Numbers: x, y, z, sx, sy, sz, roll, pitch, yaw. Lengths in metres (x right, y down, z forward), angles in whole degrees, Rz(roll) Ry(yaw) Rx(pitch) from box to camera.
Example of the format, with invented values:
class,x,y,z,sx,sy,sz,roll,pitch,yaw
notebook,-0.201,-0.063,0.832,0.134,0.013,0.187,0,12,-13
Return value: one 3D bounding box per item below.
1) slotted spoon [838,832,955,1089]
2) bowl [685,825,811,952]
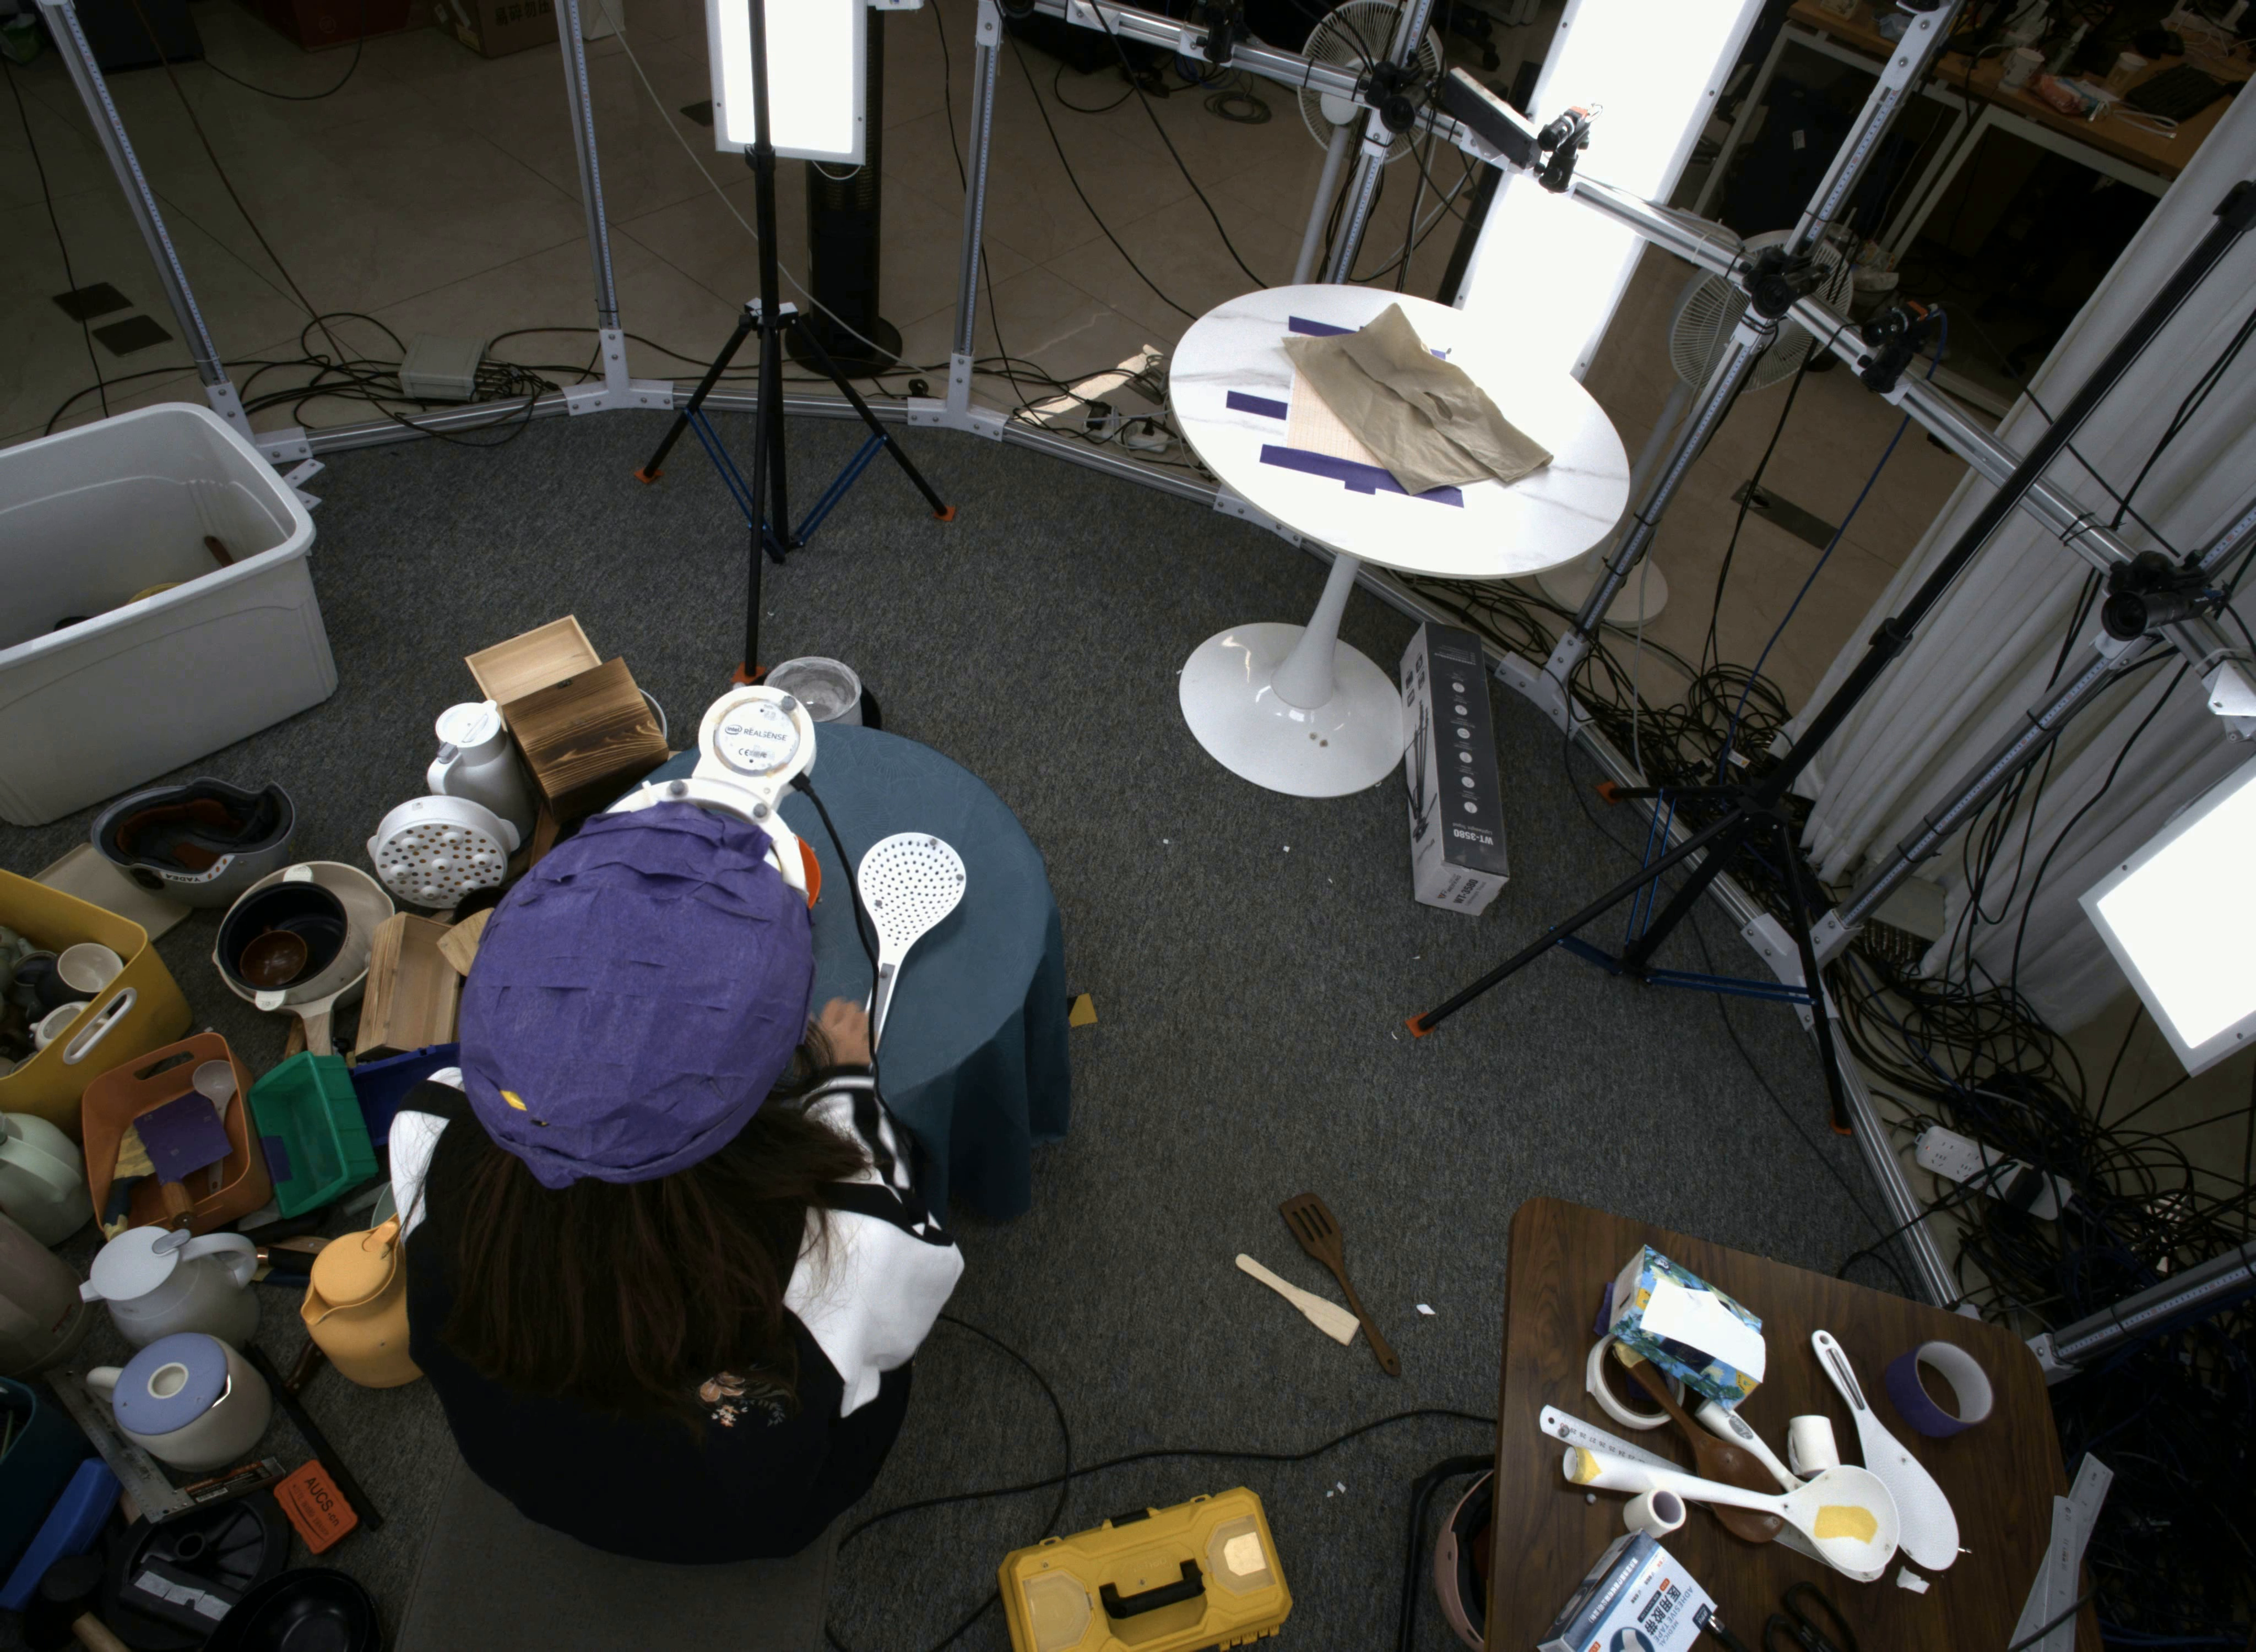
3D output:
class,x,y,z,sx,sy,sz,roll,pitch,yaw
slotted spoon,-0.302,0.157,1.604,0.135,0.046,0.344,12,52,-5
bowl,-0.462,0.086,1.579,0.148,0.106,0.145,9,50,-9
